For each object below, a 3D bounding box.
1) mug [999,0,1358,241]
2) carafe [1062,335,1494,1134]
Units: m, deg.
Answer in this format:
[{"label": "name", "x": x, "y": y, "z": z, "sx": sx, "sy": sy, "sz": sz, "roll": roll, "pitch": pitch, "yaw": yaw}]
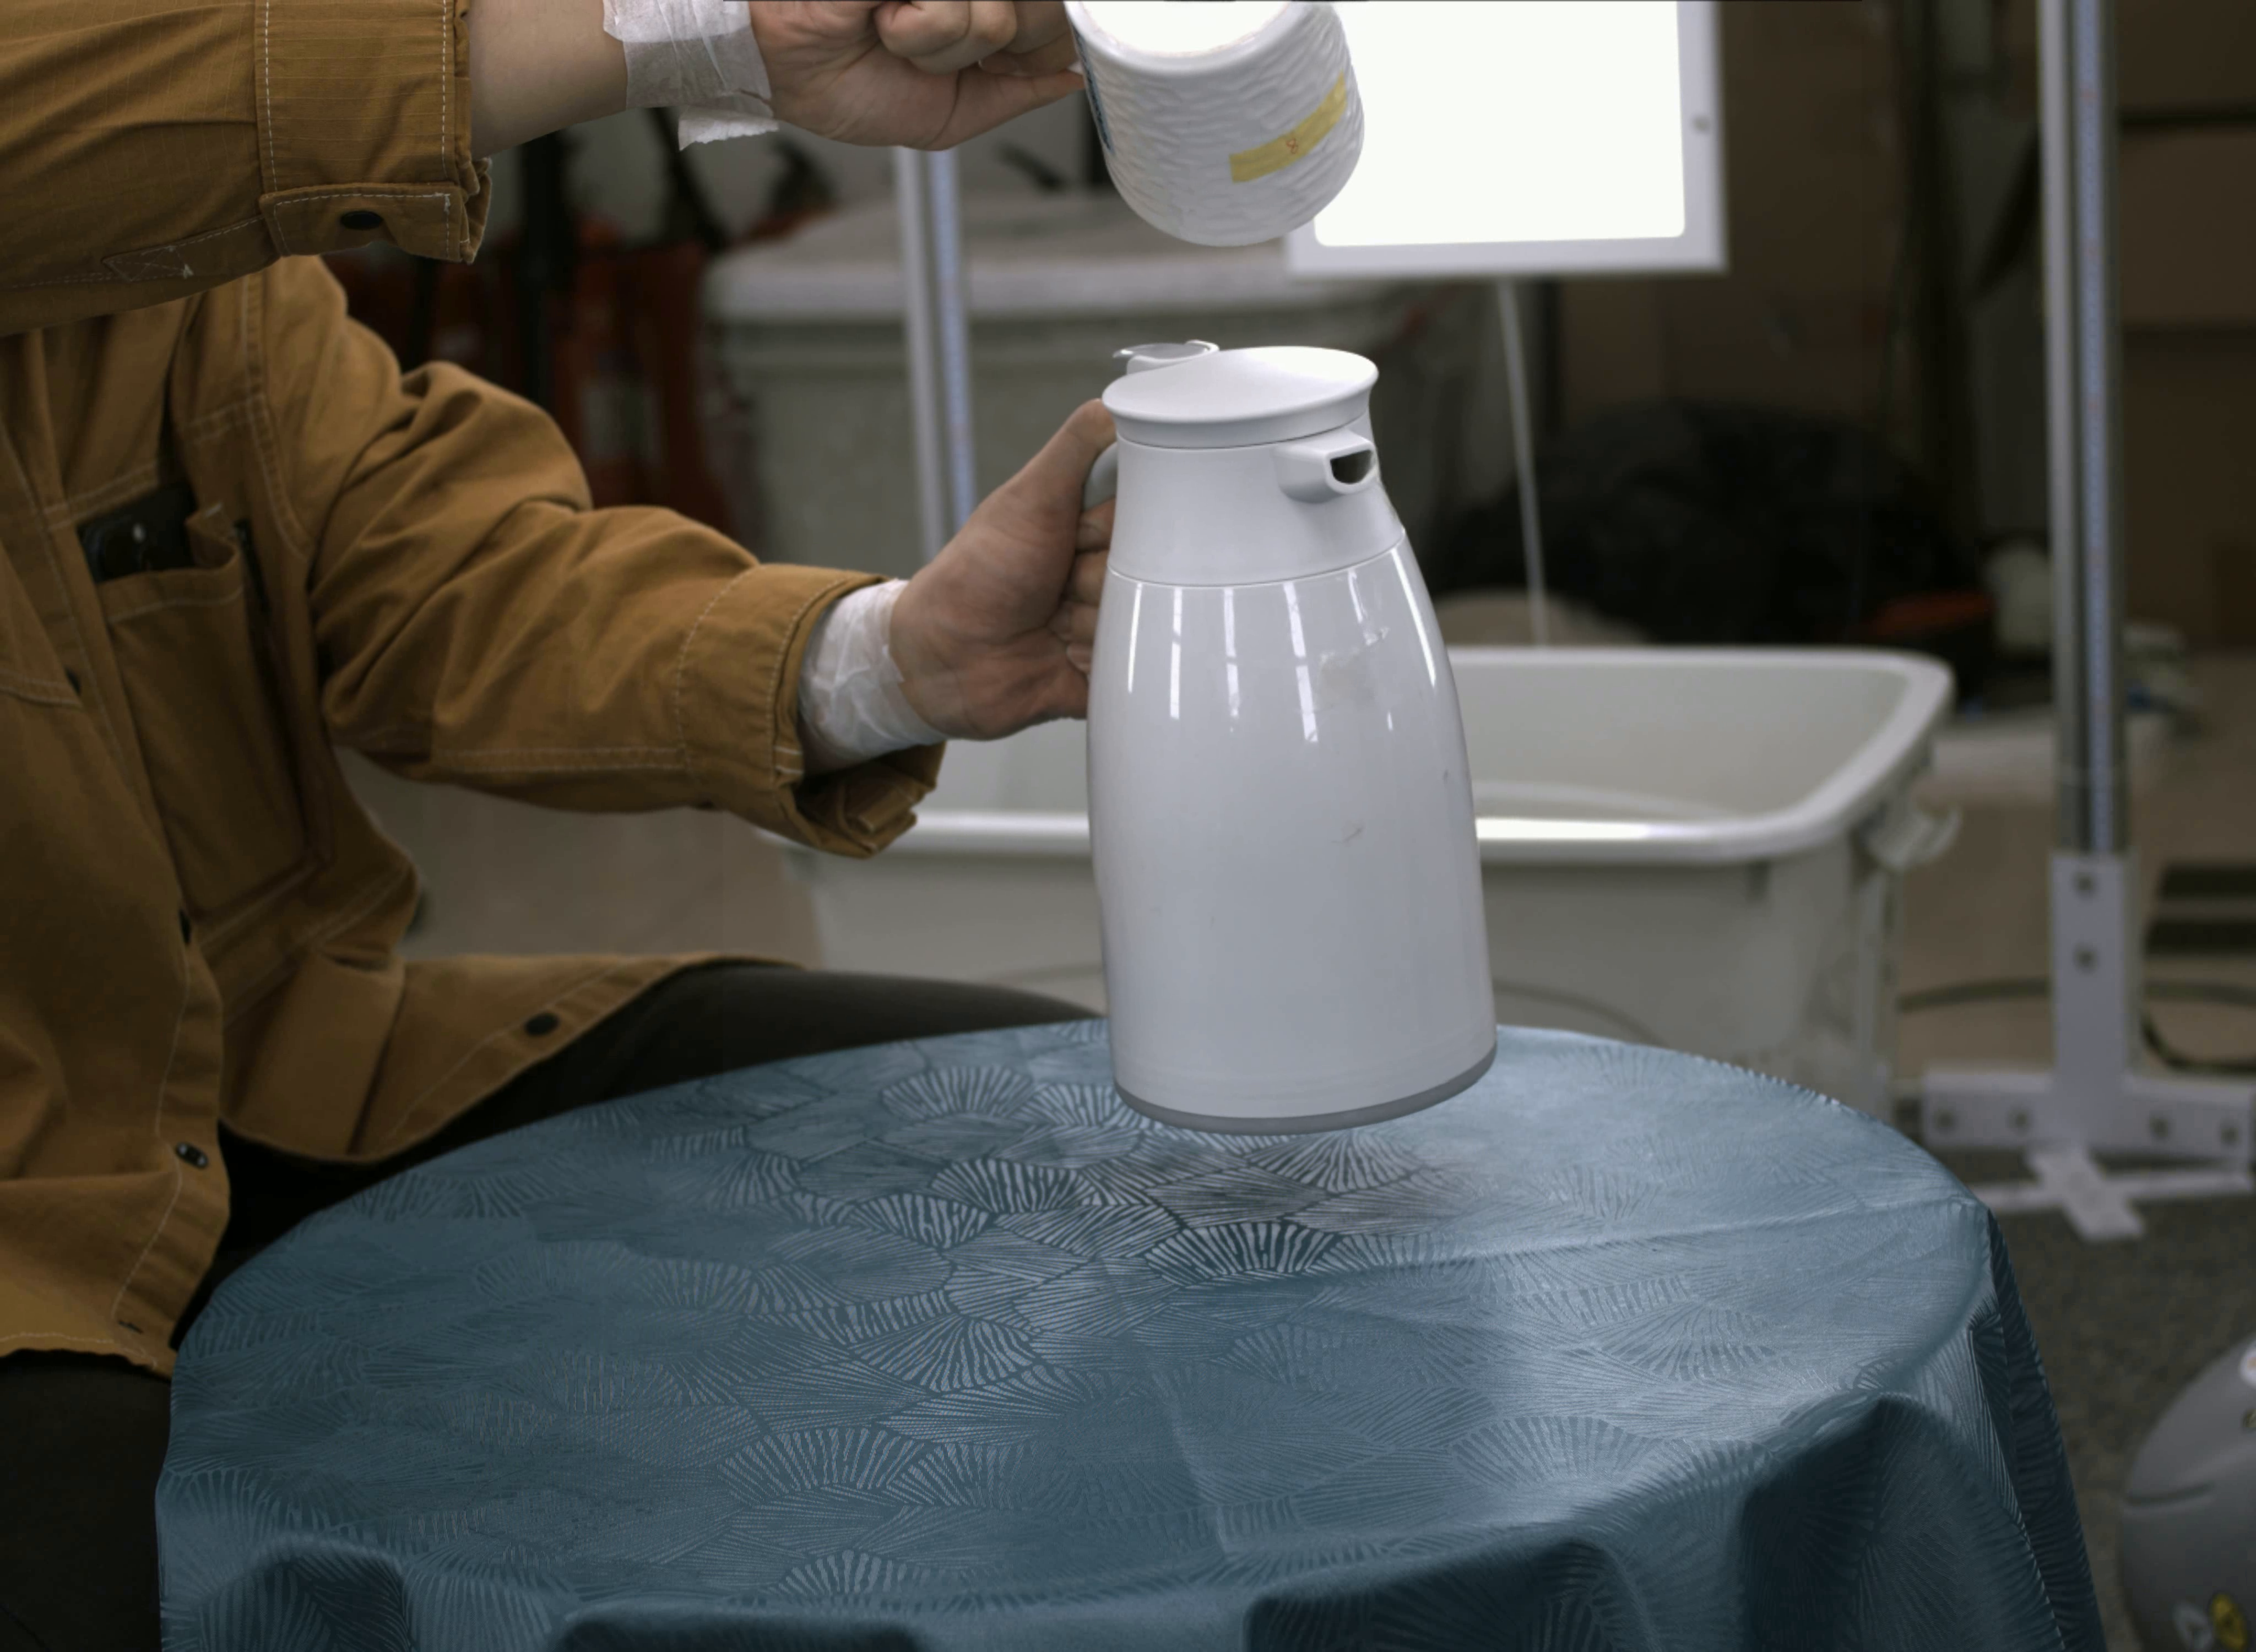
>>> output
[{"label": "mug", "x": 0.011, "y": -0.254, "z": 1.739, "sx": 0.120, "sy": 0.084, "sz": 0.101, "roll": 23, "pitch": -20, "yaw": 21}, {"label": "carafe", "x": 0.035, "y": -0.039, "z": 1.848, "sx": 0.129, "sy": 0.249, "sz": 0.171, "roll": -18, "pitch": 20, "yaw": -30}]
